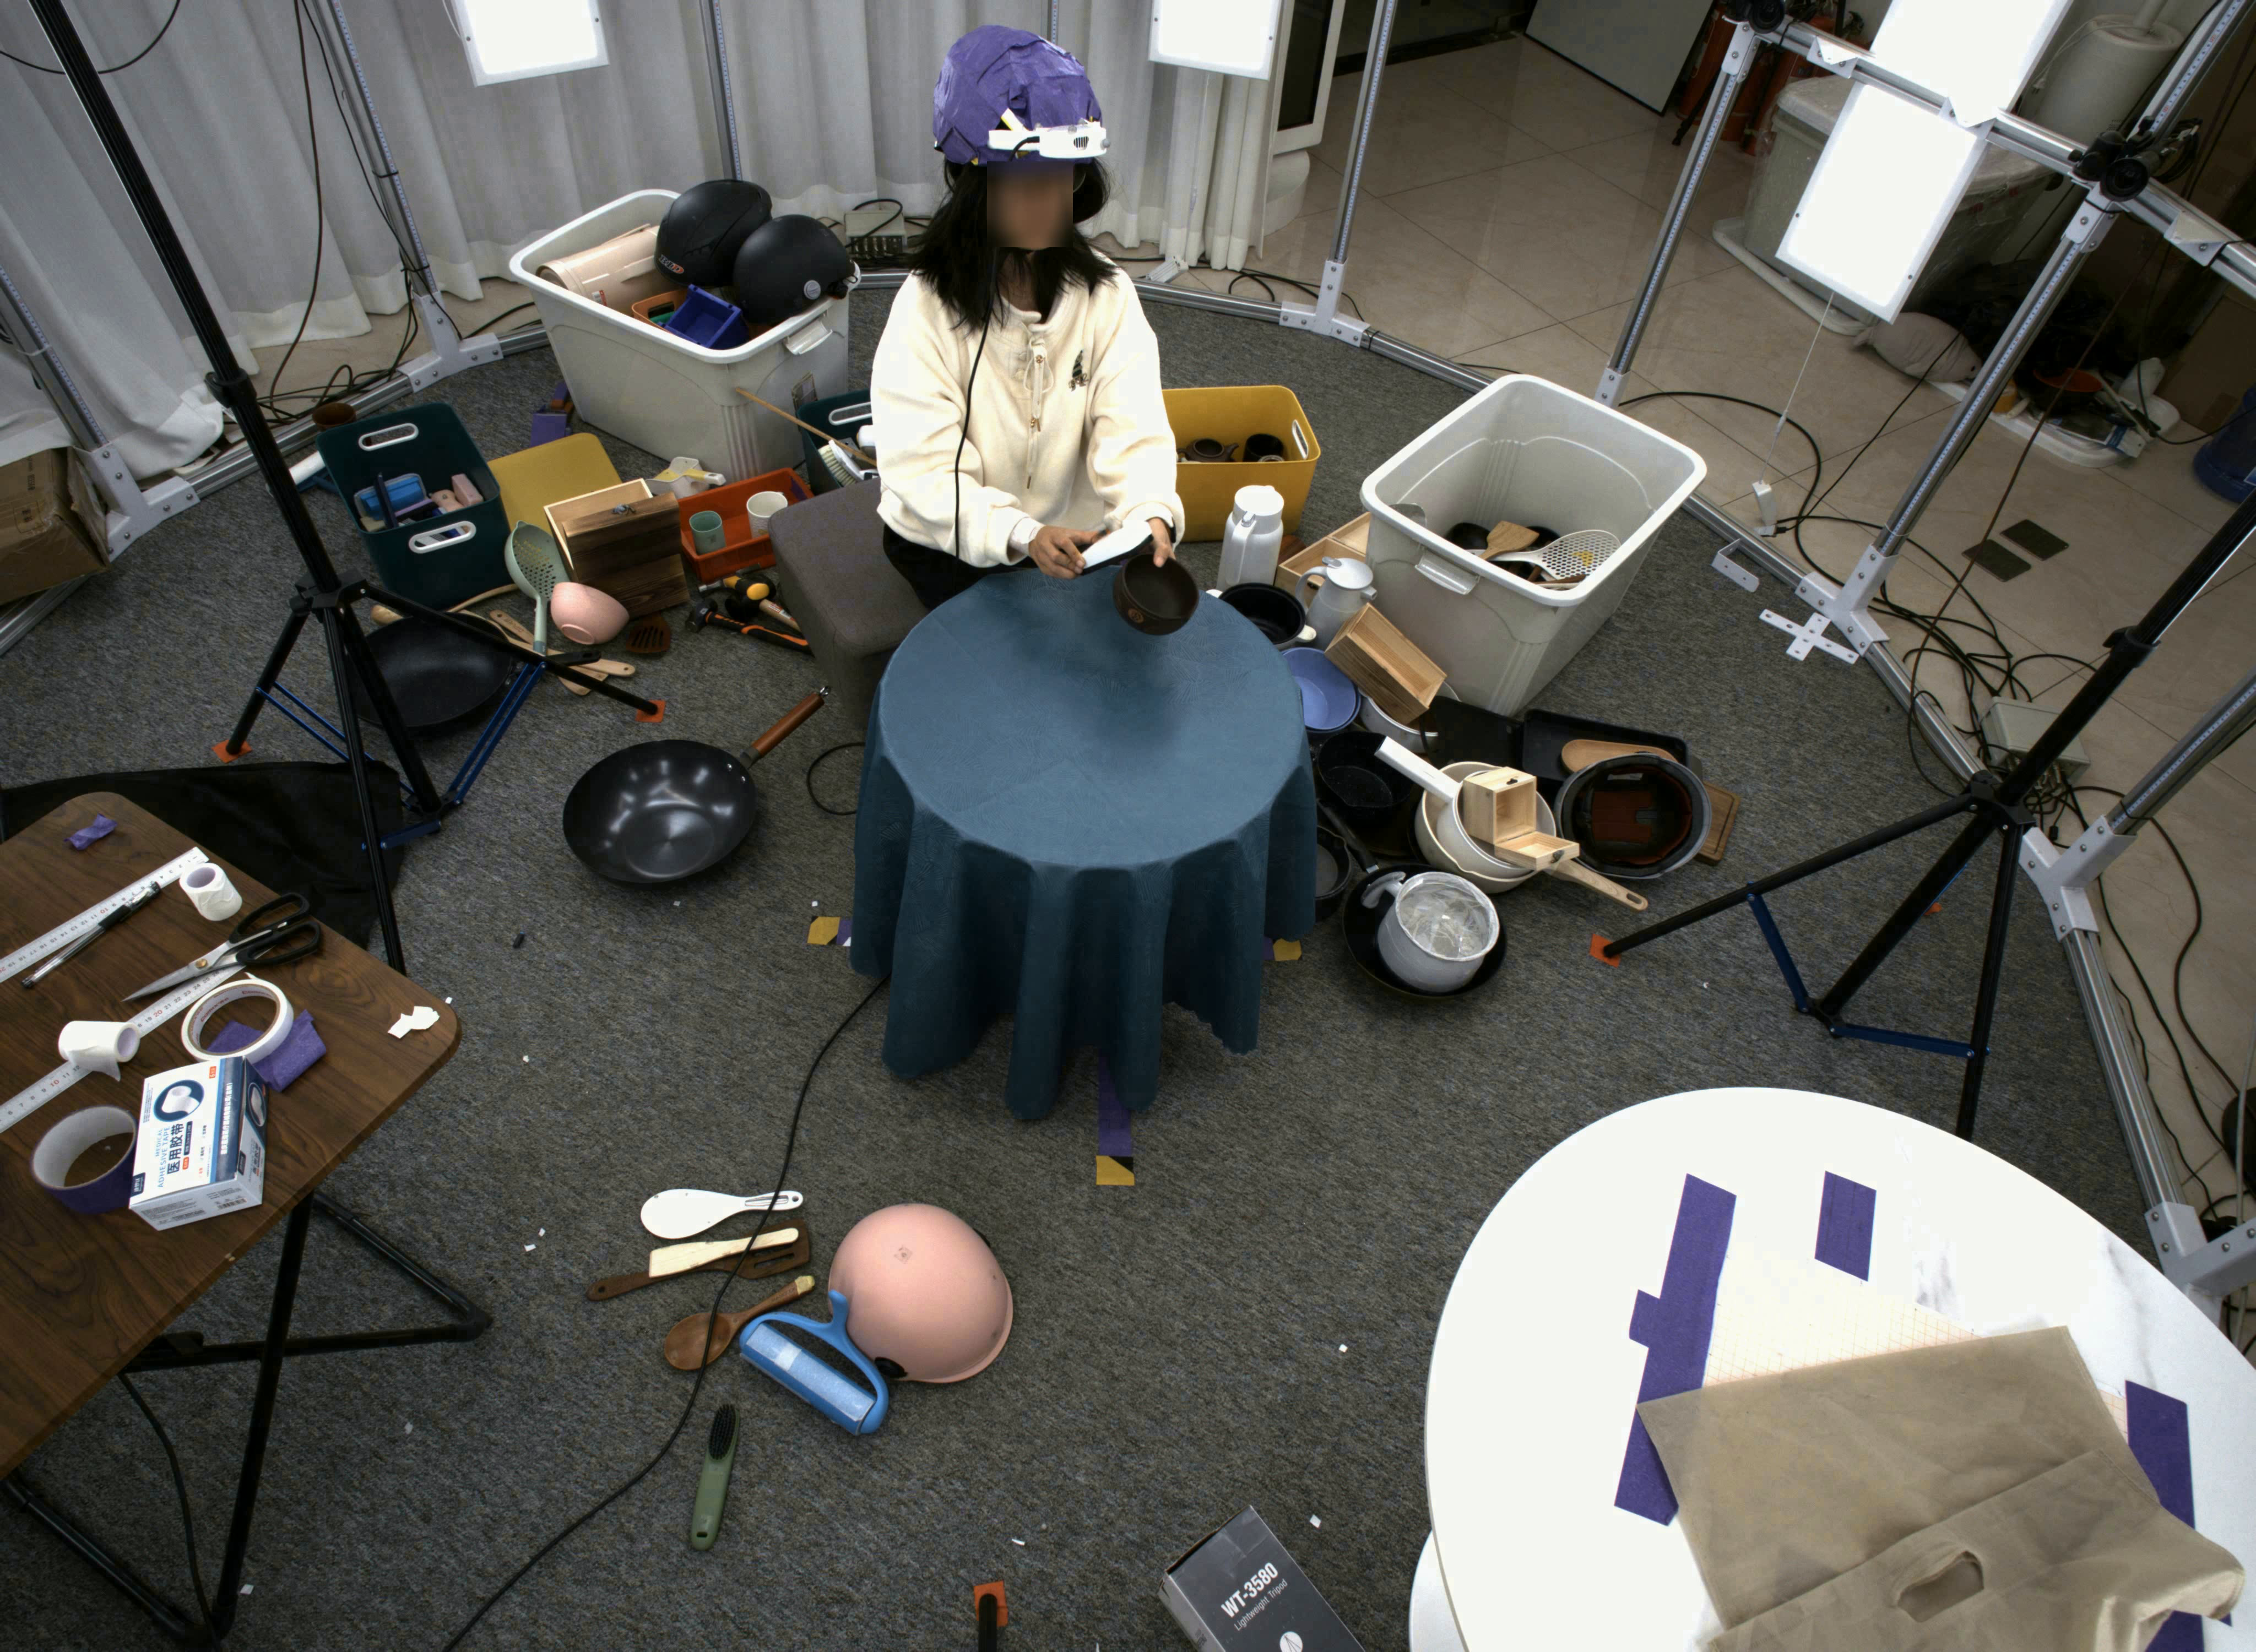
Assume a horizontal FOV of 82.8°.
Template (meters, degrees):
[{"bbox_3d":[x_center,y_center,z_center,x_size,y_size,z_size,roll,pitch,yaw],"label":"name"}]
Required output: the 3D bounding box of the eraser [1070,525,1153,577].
[{"bbox_3d":[-0.023,-0.389,1.810,0.131,0.034,0.064,-7,30,49],"label":"eraser"}]

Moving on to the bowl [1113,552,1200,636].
[{"bbox_3d":[0.033,-0.312,1.774,0.117,0.068,0.121,13,54,-19],"label":"bowl"}]
